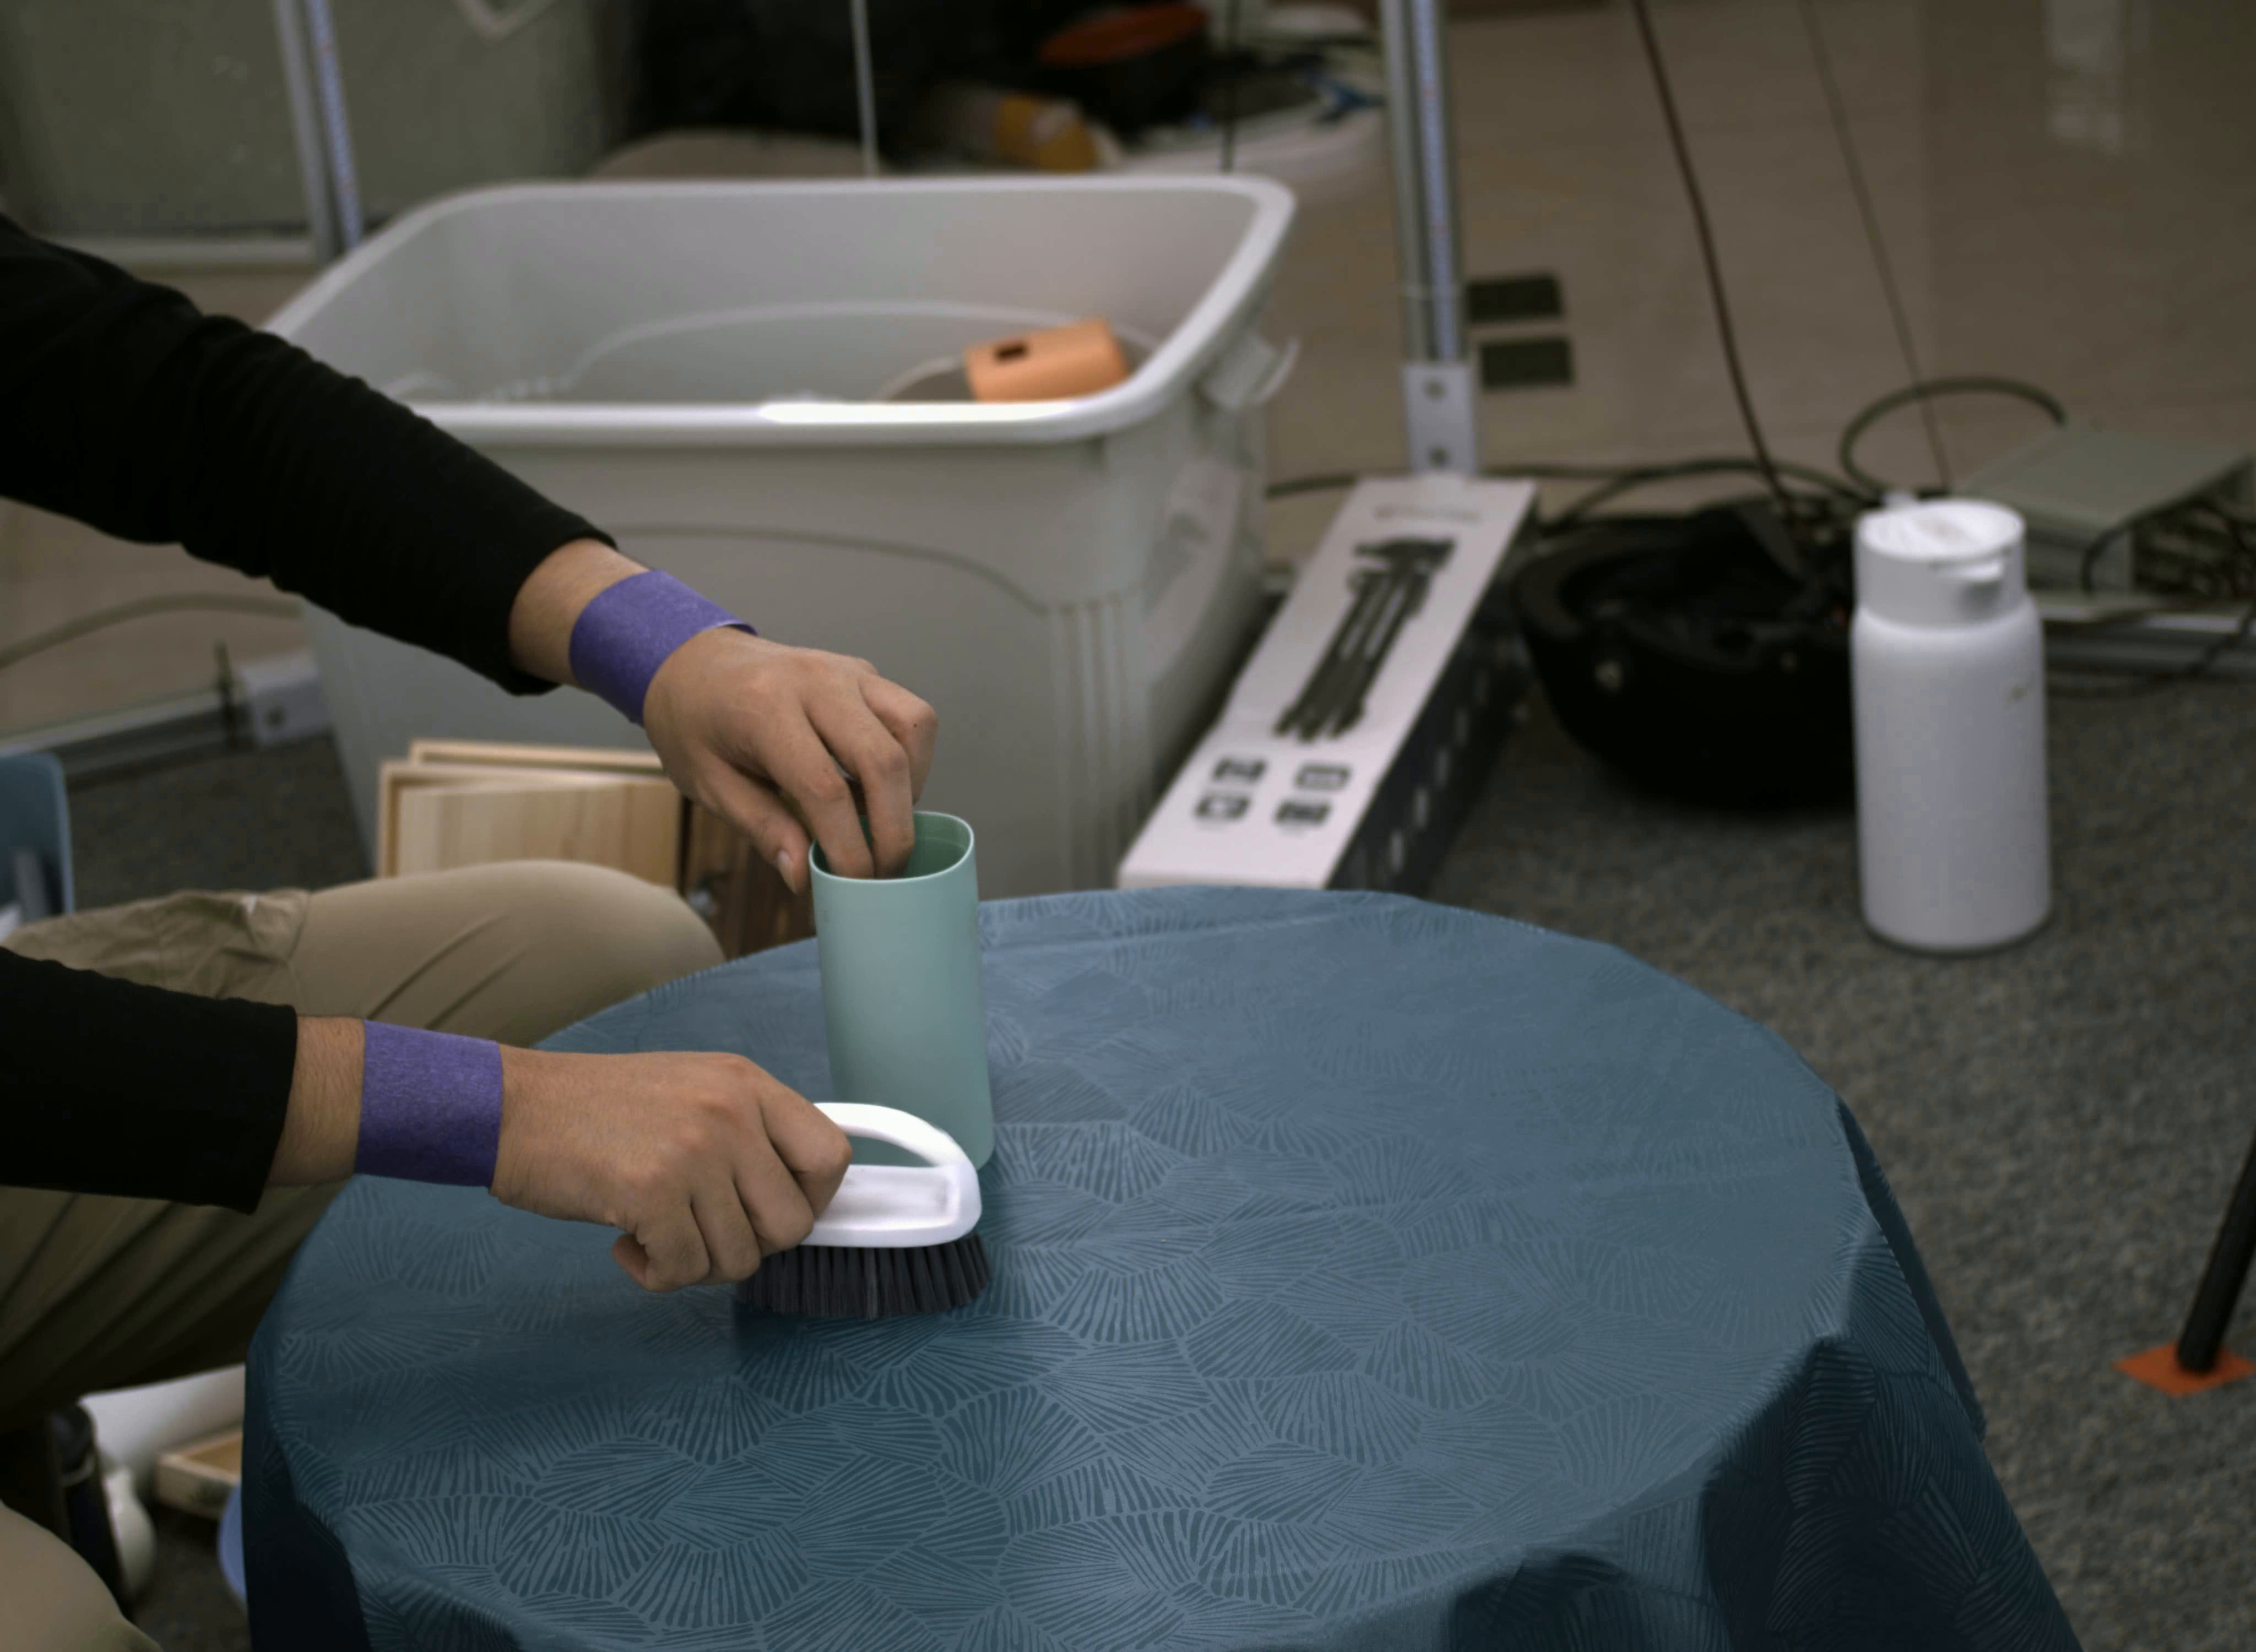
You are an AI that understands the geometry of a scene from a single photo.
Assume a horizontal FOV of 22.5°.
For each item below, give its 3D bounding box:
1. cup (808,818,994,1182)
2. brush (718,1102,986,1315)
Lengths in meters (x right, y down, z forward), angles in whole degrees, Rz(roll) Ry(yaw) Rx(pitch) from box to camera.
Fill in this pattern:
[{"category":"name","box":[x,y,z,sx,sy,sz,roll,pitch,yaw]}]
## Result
[{"category":"cup","box":[-0.086,0.069,2.167,0.066,0.134,0.066,-3,27,1]},{"category":"brush","box":[-0.104,0.136,2.089,0.099,0.073,0.049,3,26,17]}]
